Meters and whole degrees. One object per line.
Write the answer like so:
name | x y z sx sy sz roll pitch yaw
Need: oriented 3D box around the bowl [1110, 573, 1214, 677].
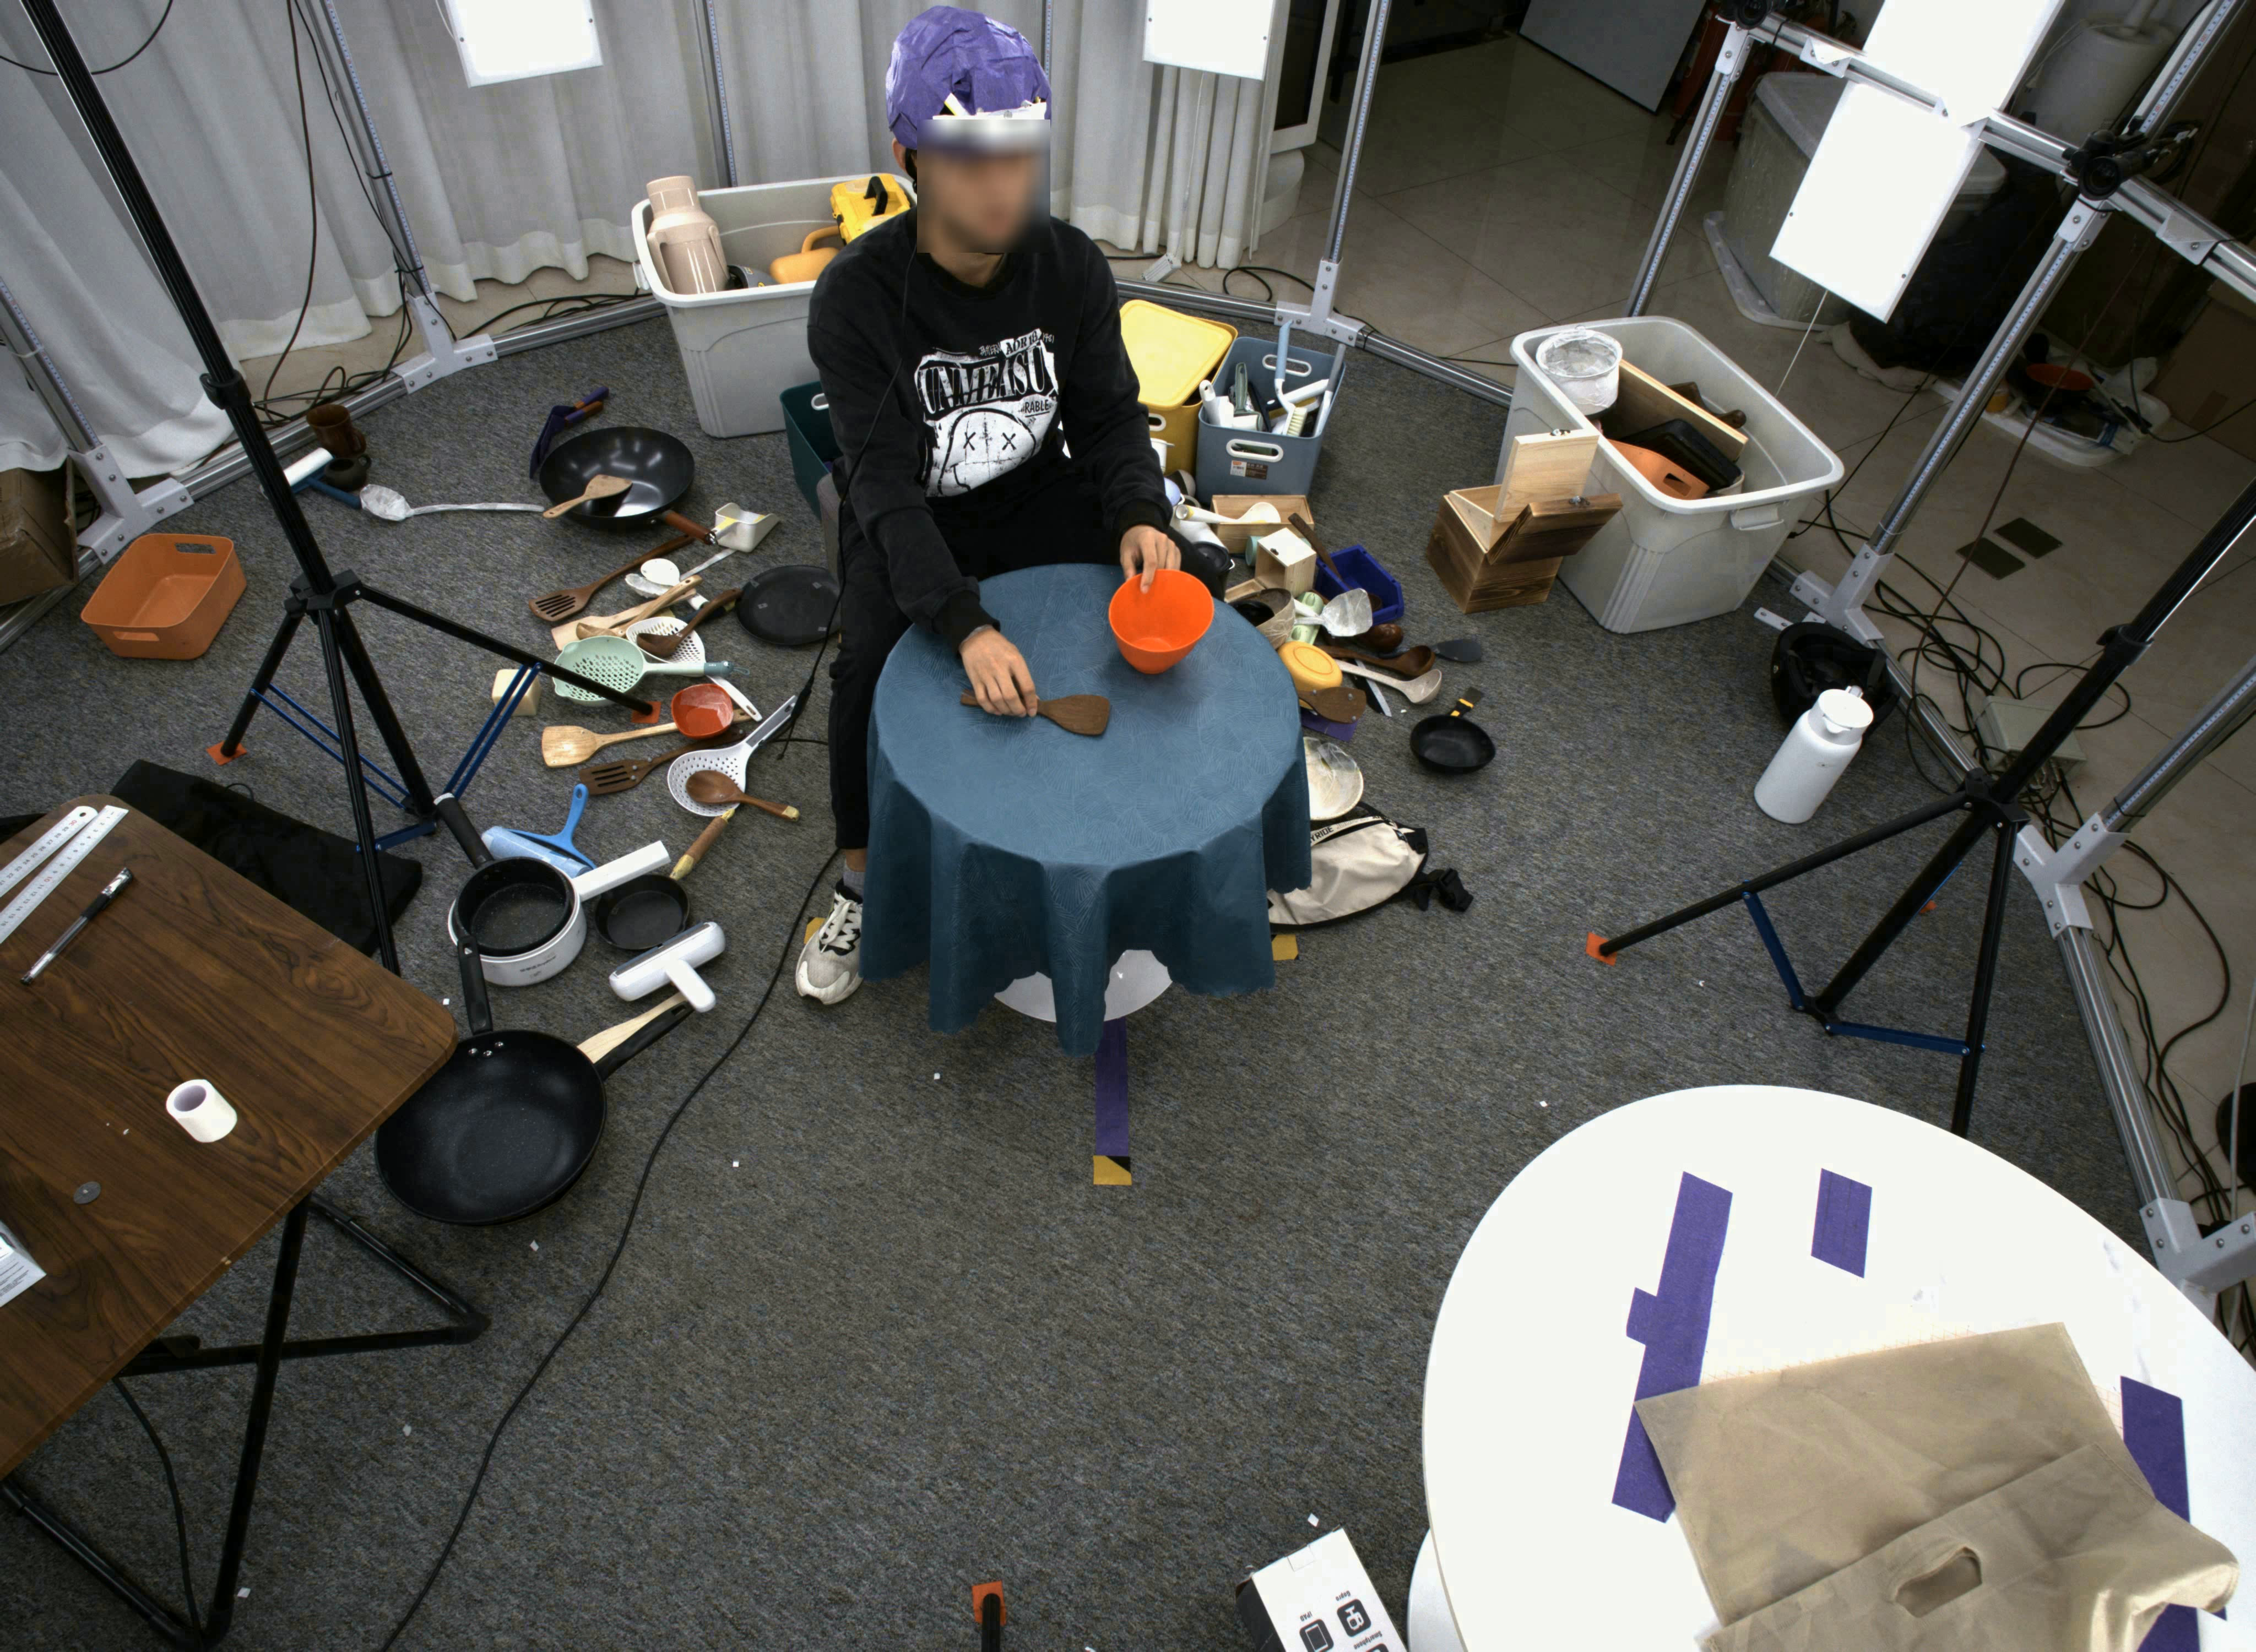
bowl | 0.047 -0.280 1.863 0.148 0.102 0.151 2 53 -3

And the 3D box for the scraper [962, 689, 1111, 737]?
scraper | -0.130 -0.167 1.814 0.211 0.010 0.077 9 51 4
